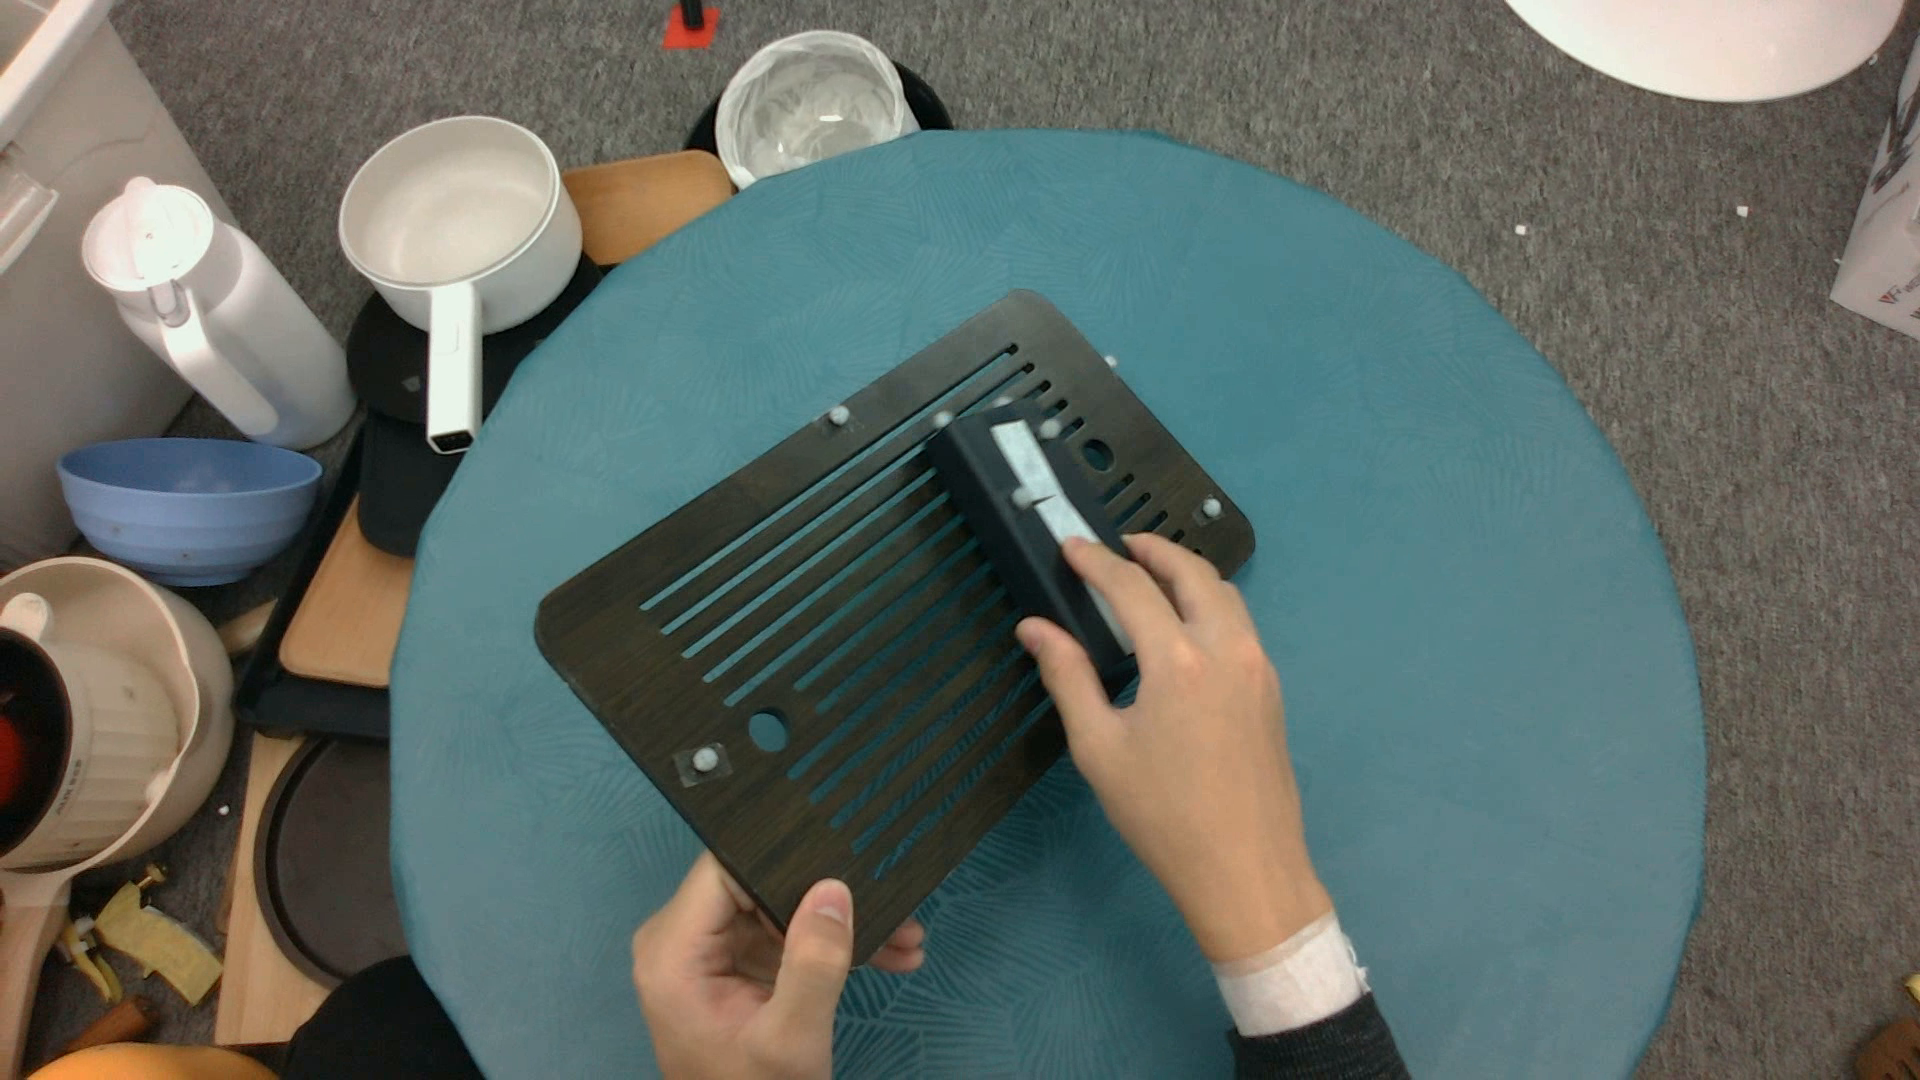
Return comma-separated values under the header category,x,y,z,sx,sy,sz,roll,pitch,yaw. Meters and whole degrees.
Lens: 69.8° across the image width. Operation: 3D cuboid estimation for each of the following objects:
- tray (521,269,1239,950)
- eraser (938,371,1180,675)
category,x,y,z,sx,sy,sz,roll,pitch,yaw
tray,-0.013,0.008,0.570,0.170,0.018,0.307,48,52,3
eraser,0.041,-0.008,0.583,0.054,0.030,0.125,-19,76,-33
